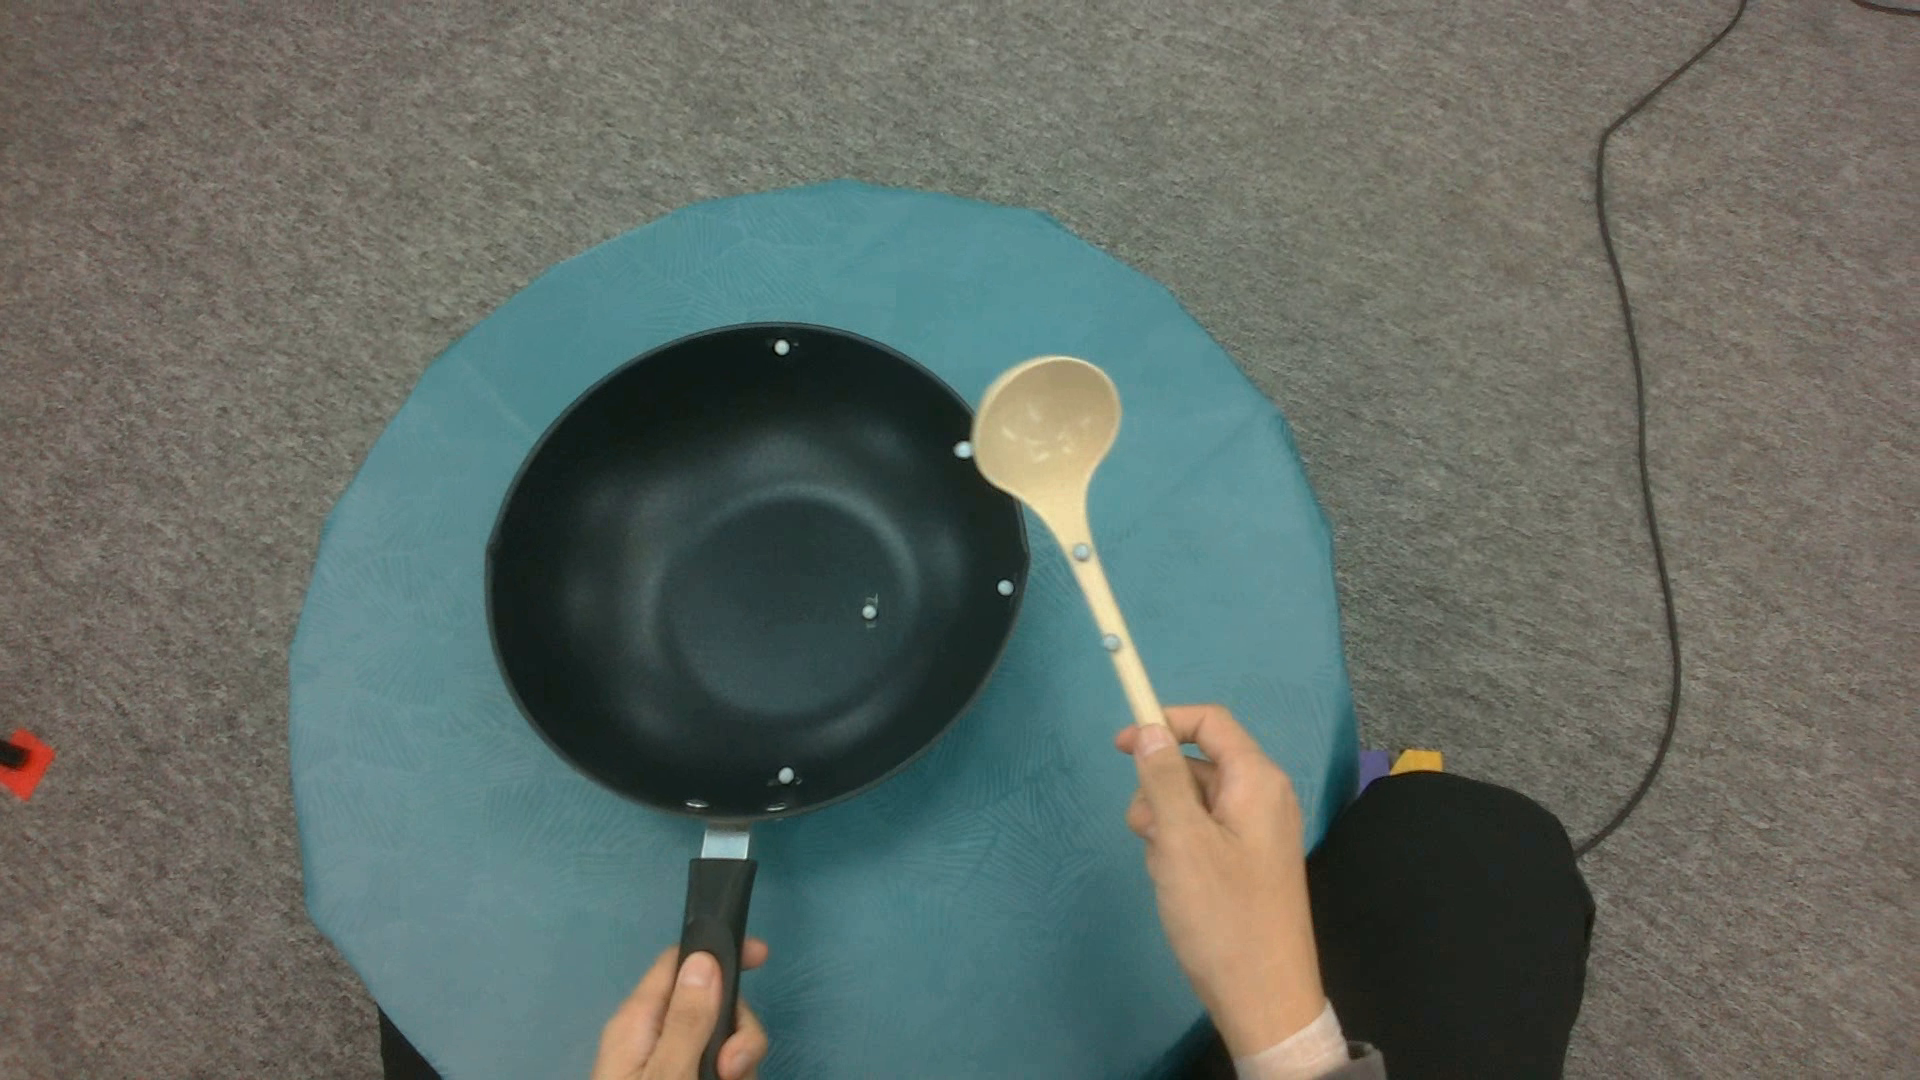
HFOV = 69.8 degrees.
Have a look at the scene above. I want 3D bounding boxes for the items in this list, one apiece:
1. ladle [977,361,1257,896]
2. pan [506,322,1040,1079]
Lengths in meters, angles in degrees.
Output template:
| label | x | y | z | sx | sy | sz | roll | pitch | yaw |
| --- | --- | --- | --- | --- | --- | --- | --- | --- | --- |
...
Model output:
| label | x | y | z | sx | sy | sz | roll | pitch | yaw |
| --- | --- | --- | --- | --- | --- | --- | --- | --- | --- |
| ladle | 0.080 | 0.033 | 0.619 | 0.072 | 0.072 | 0.255 | -19 | 67 | -12 |
| pan | -0.105 | 0.106 | 0.732 | 0.288 | 0.086 | 0.465 | 2 | 69 | 5 |
